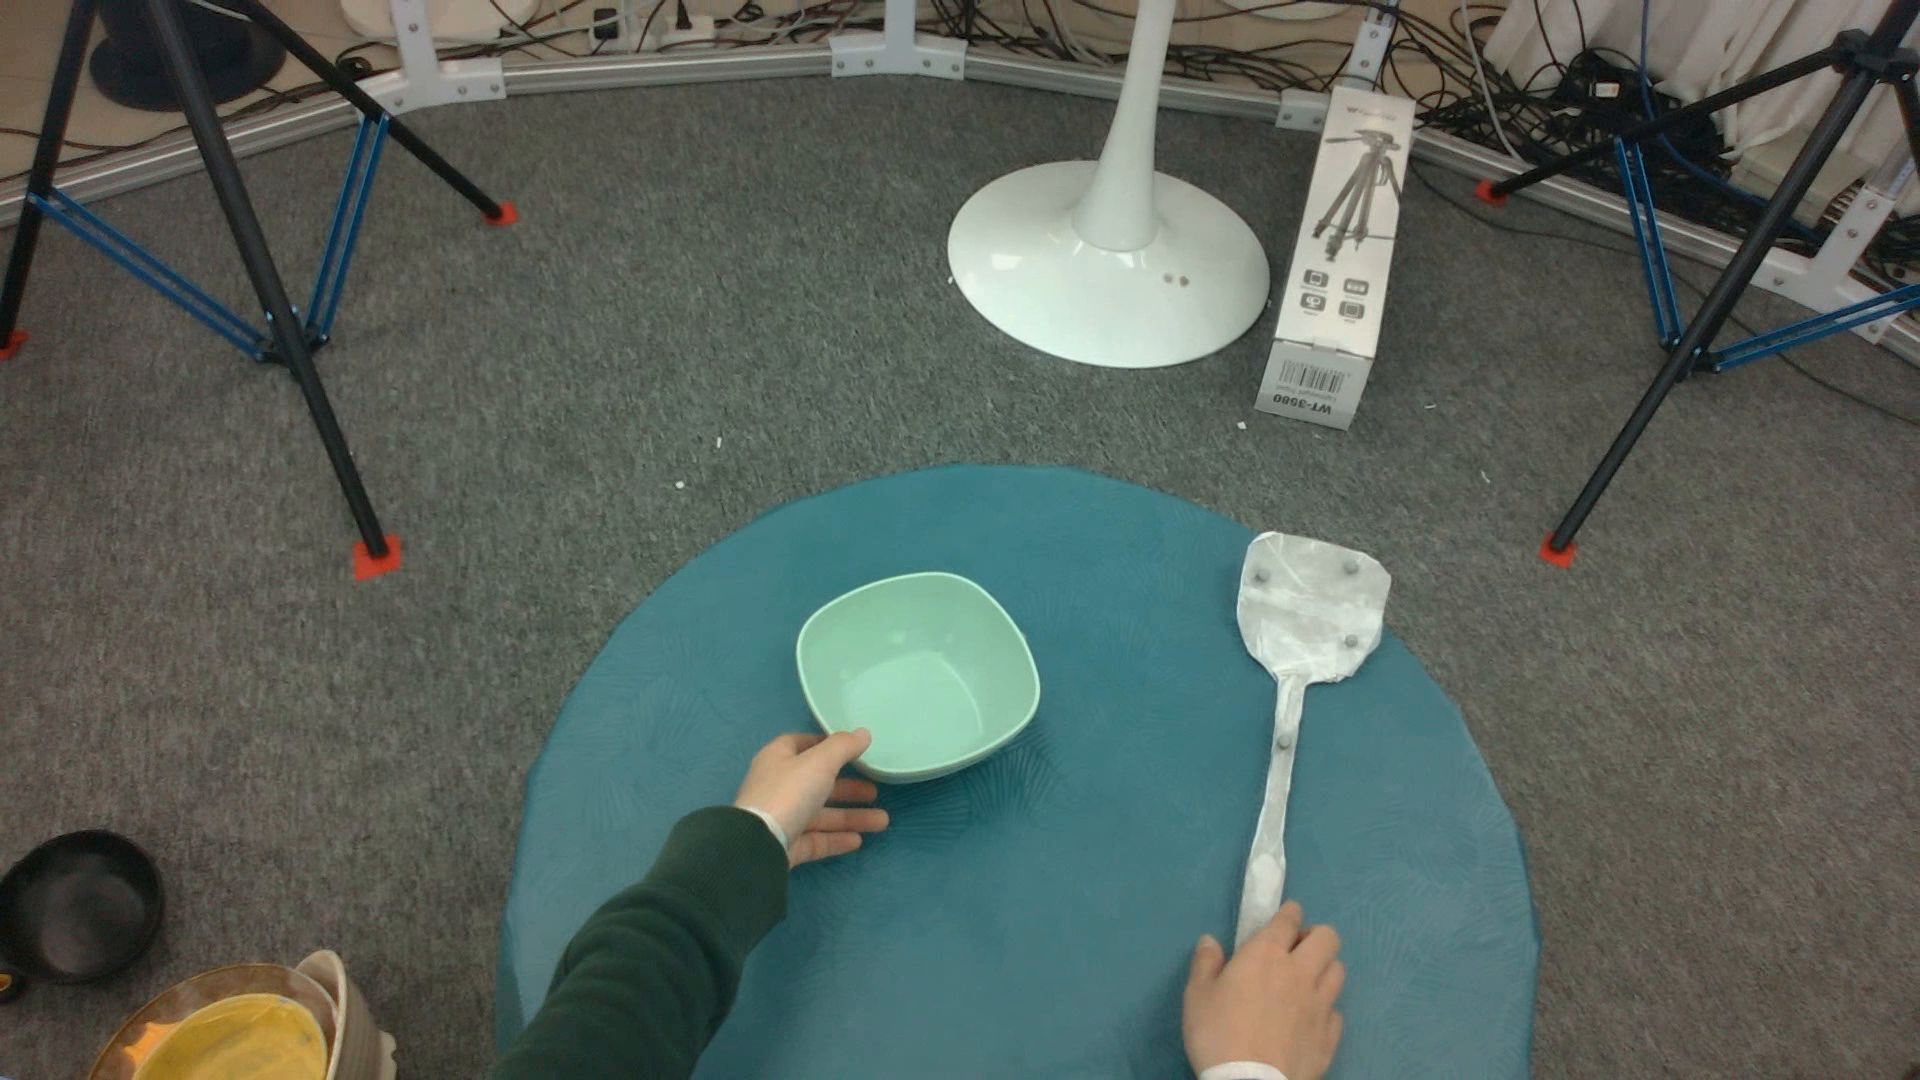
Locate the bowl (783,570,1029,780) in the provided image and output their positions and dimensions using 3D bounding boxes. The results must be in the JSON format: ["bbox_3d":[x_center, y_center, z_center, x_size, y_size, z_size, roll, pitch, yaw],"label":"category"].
[{"bbox_3d":[-0.034,0.092,0.845,0.151,0.058,0.152,3,48,-3],"label":"bowl"}]

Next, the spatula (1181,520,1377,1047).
[{"bbox_3d":[0.186,0.135,0.844,0.098,0.044,0.367,18,50,6],"label":"spatula"}]
